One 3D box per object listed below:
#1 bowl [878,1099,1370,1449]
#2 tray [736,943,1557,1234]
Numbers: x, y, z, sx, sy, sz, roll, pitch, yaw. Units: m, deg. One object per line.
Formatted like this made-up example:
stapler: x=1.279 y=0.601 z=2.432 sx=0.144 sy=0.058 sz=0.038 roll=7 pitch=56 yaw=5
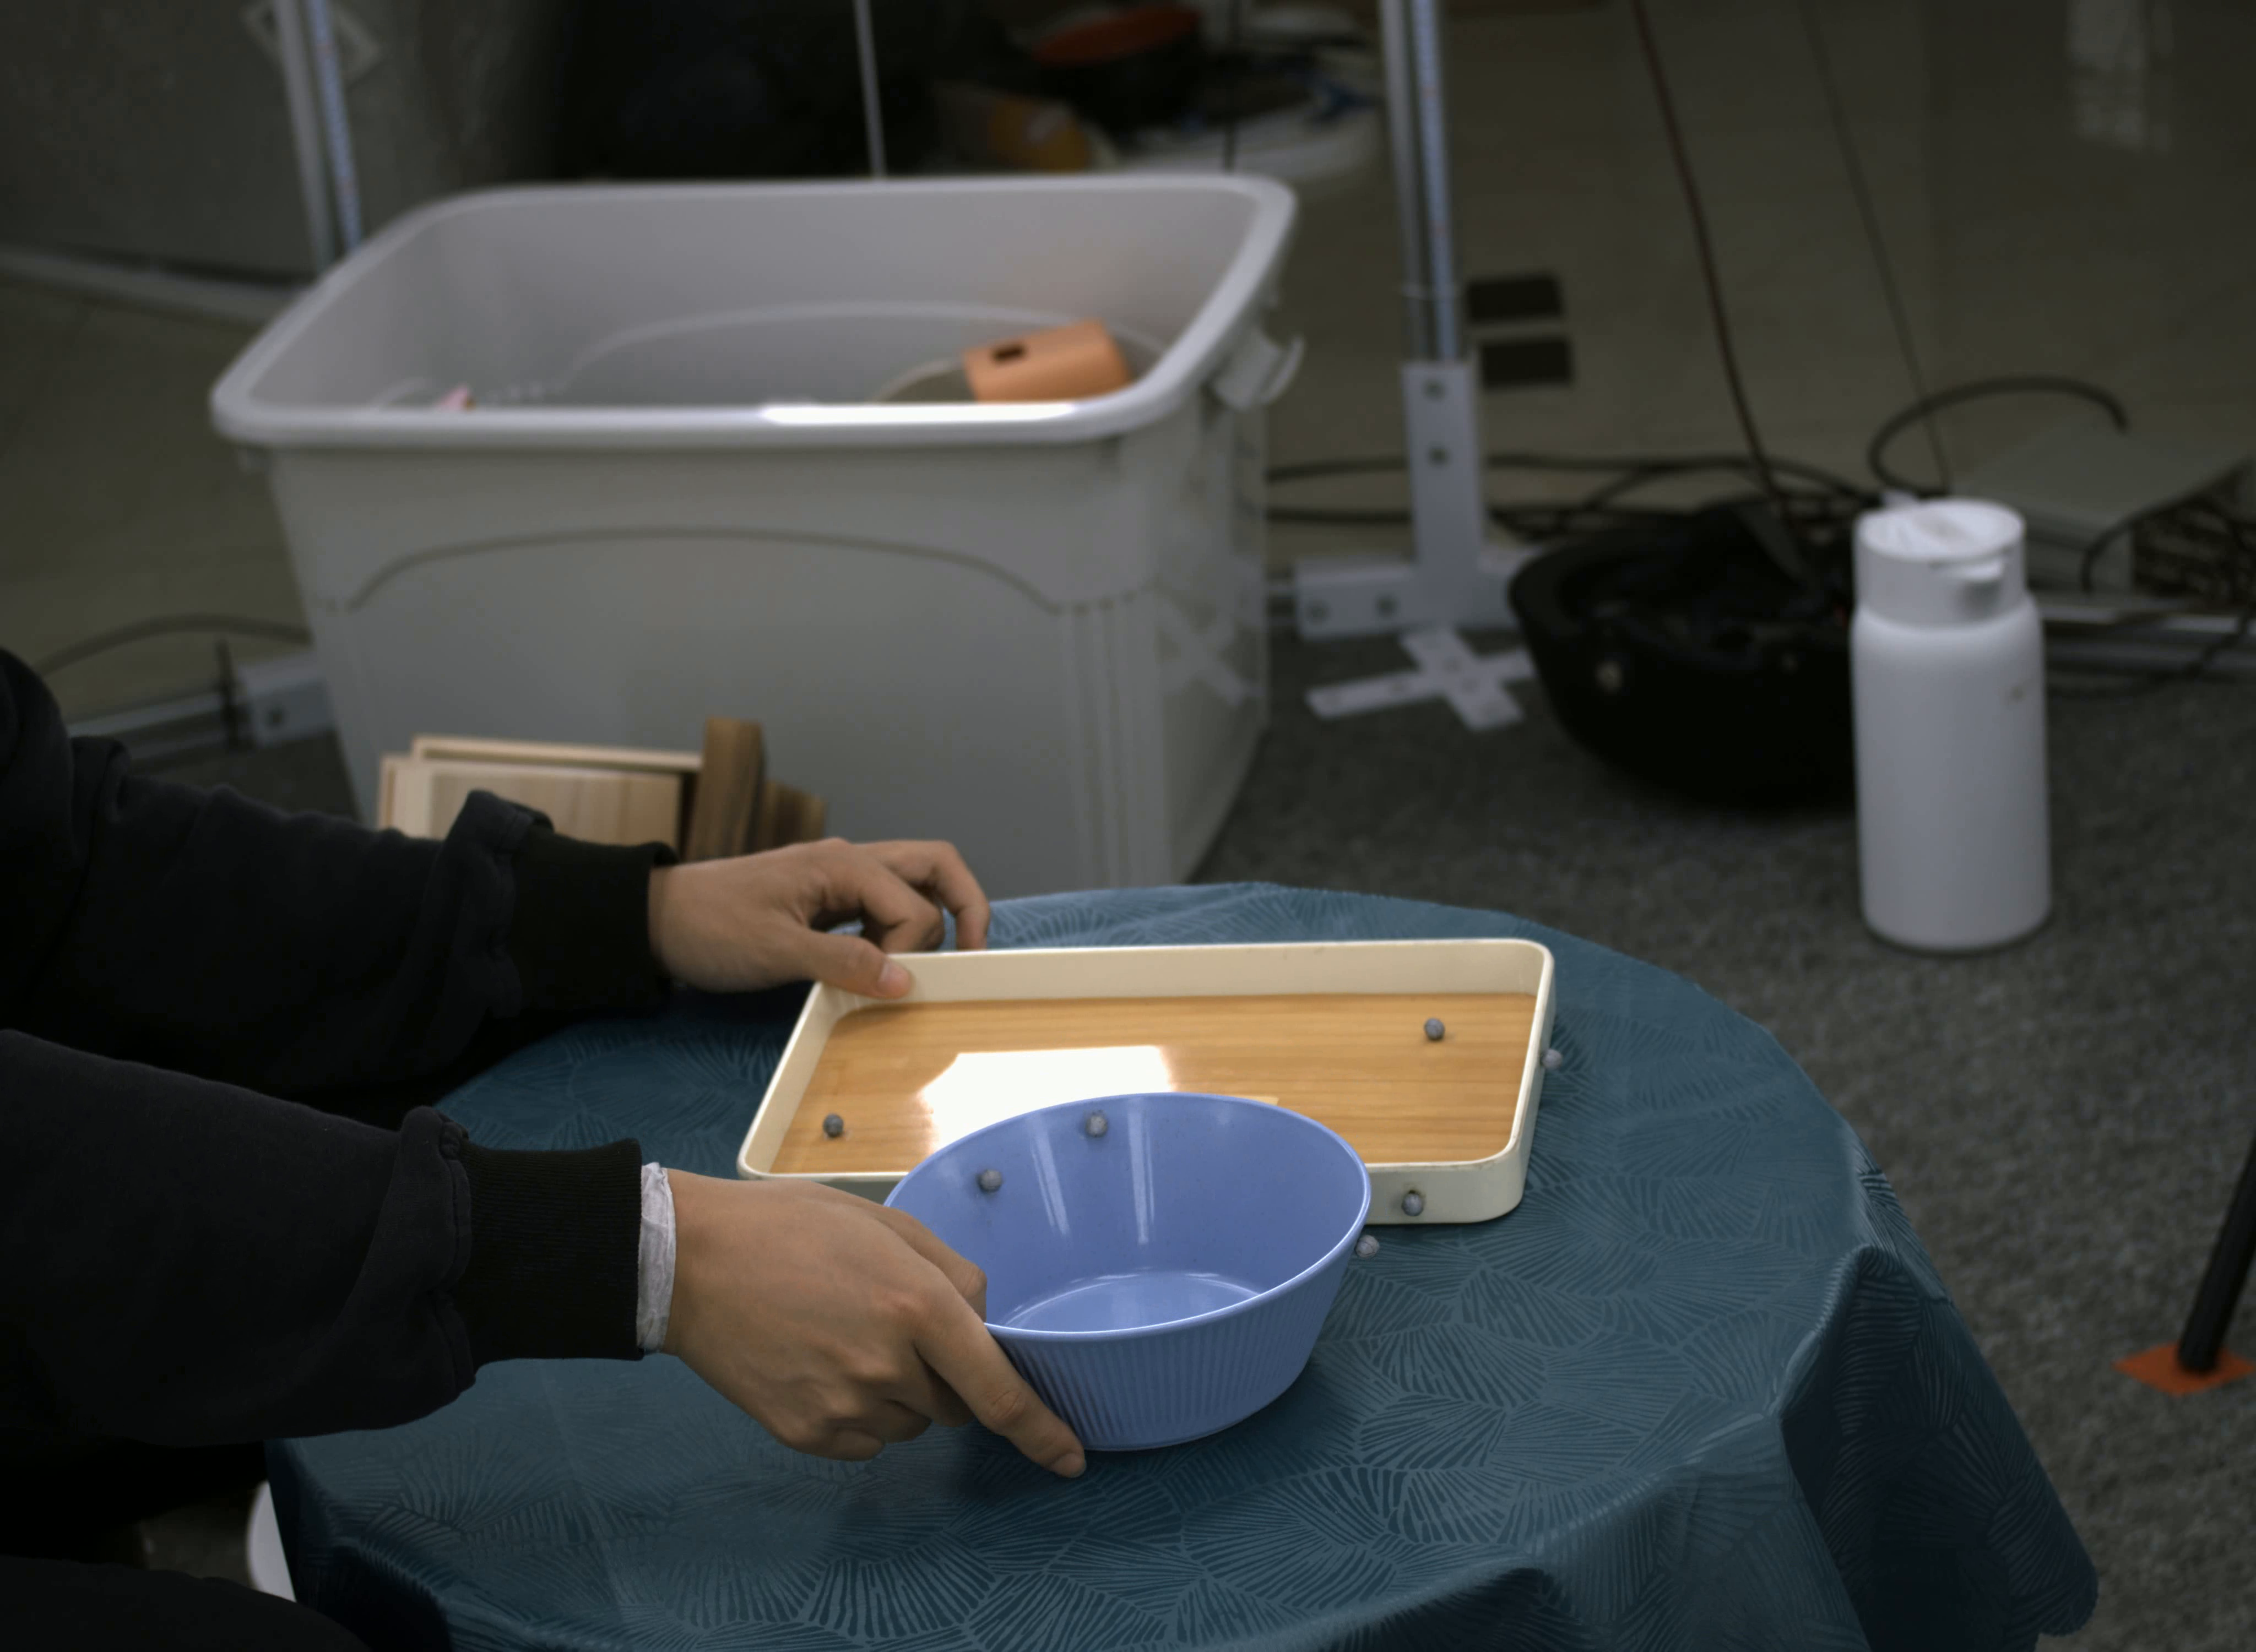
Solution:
bowl: x=0.002 y=0.165 z=2.012 sx=0.176 sy=0.071 sz=0.173 roll=-6 pitch=24 yaw=3
tray: x=0.011 y=0.101 z=2.201 sx=0.300 sy=0.028 sz=0.189 roll=-1 pitch=25 yaw=10
